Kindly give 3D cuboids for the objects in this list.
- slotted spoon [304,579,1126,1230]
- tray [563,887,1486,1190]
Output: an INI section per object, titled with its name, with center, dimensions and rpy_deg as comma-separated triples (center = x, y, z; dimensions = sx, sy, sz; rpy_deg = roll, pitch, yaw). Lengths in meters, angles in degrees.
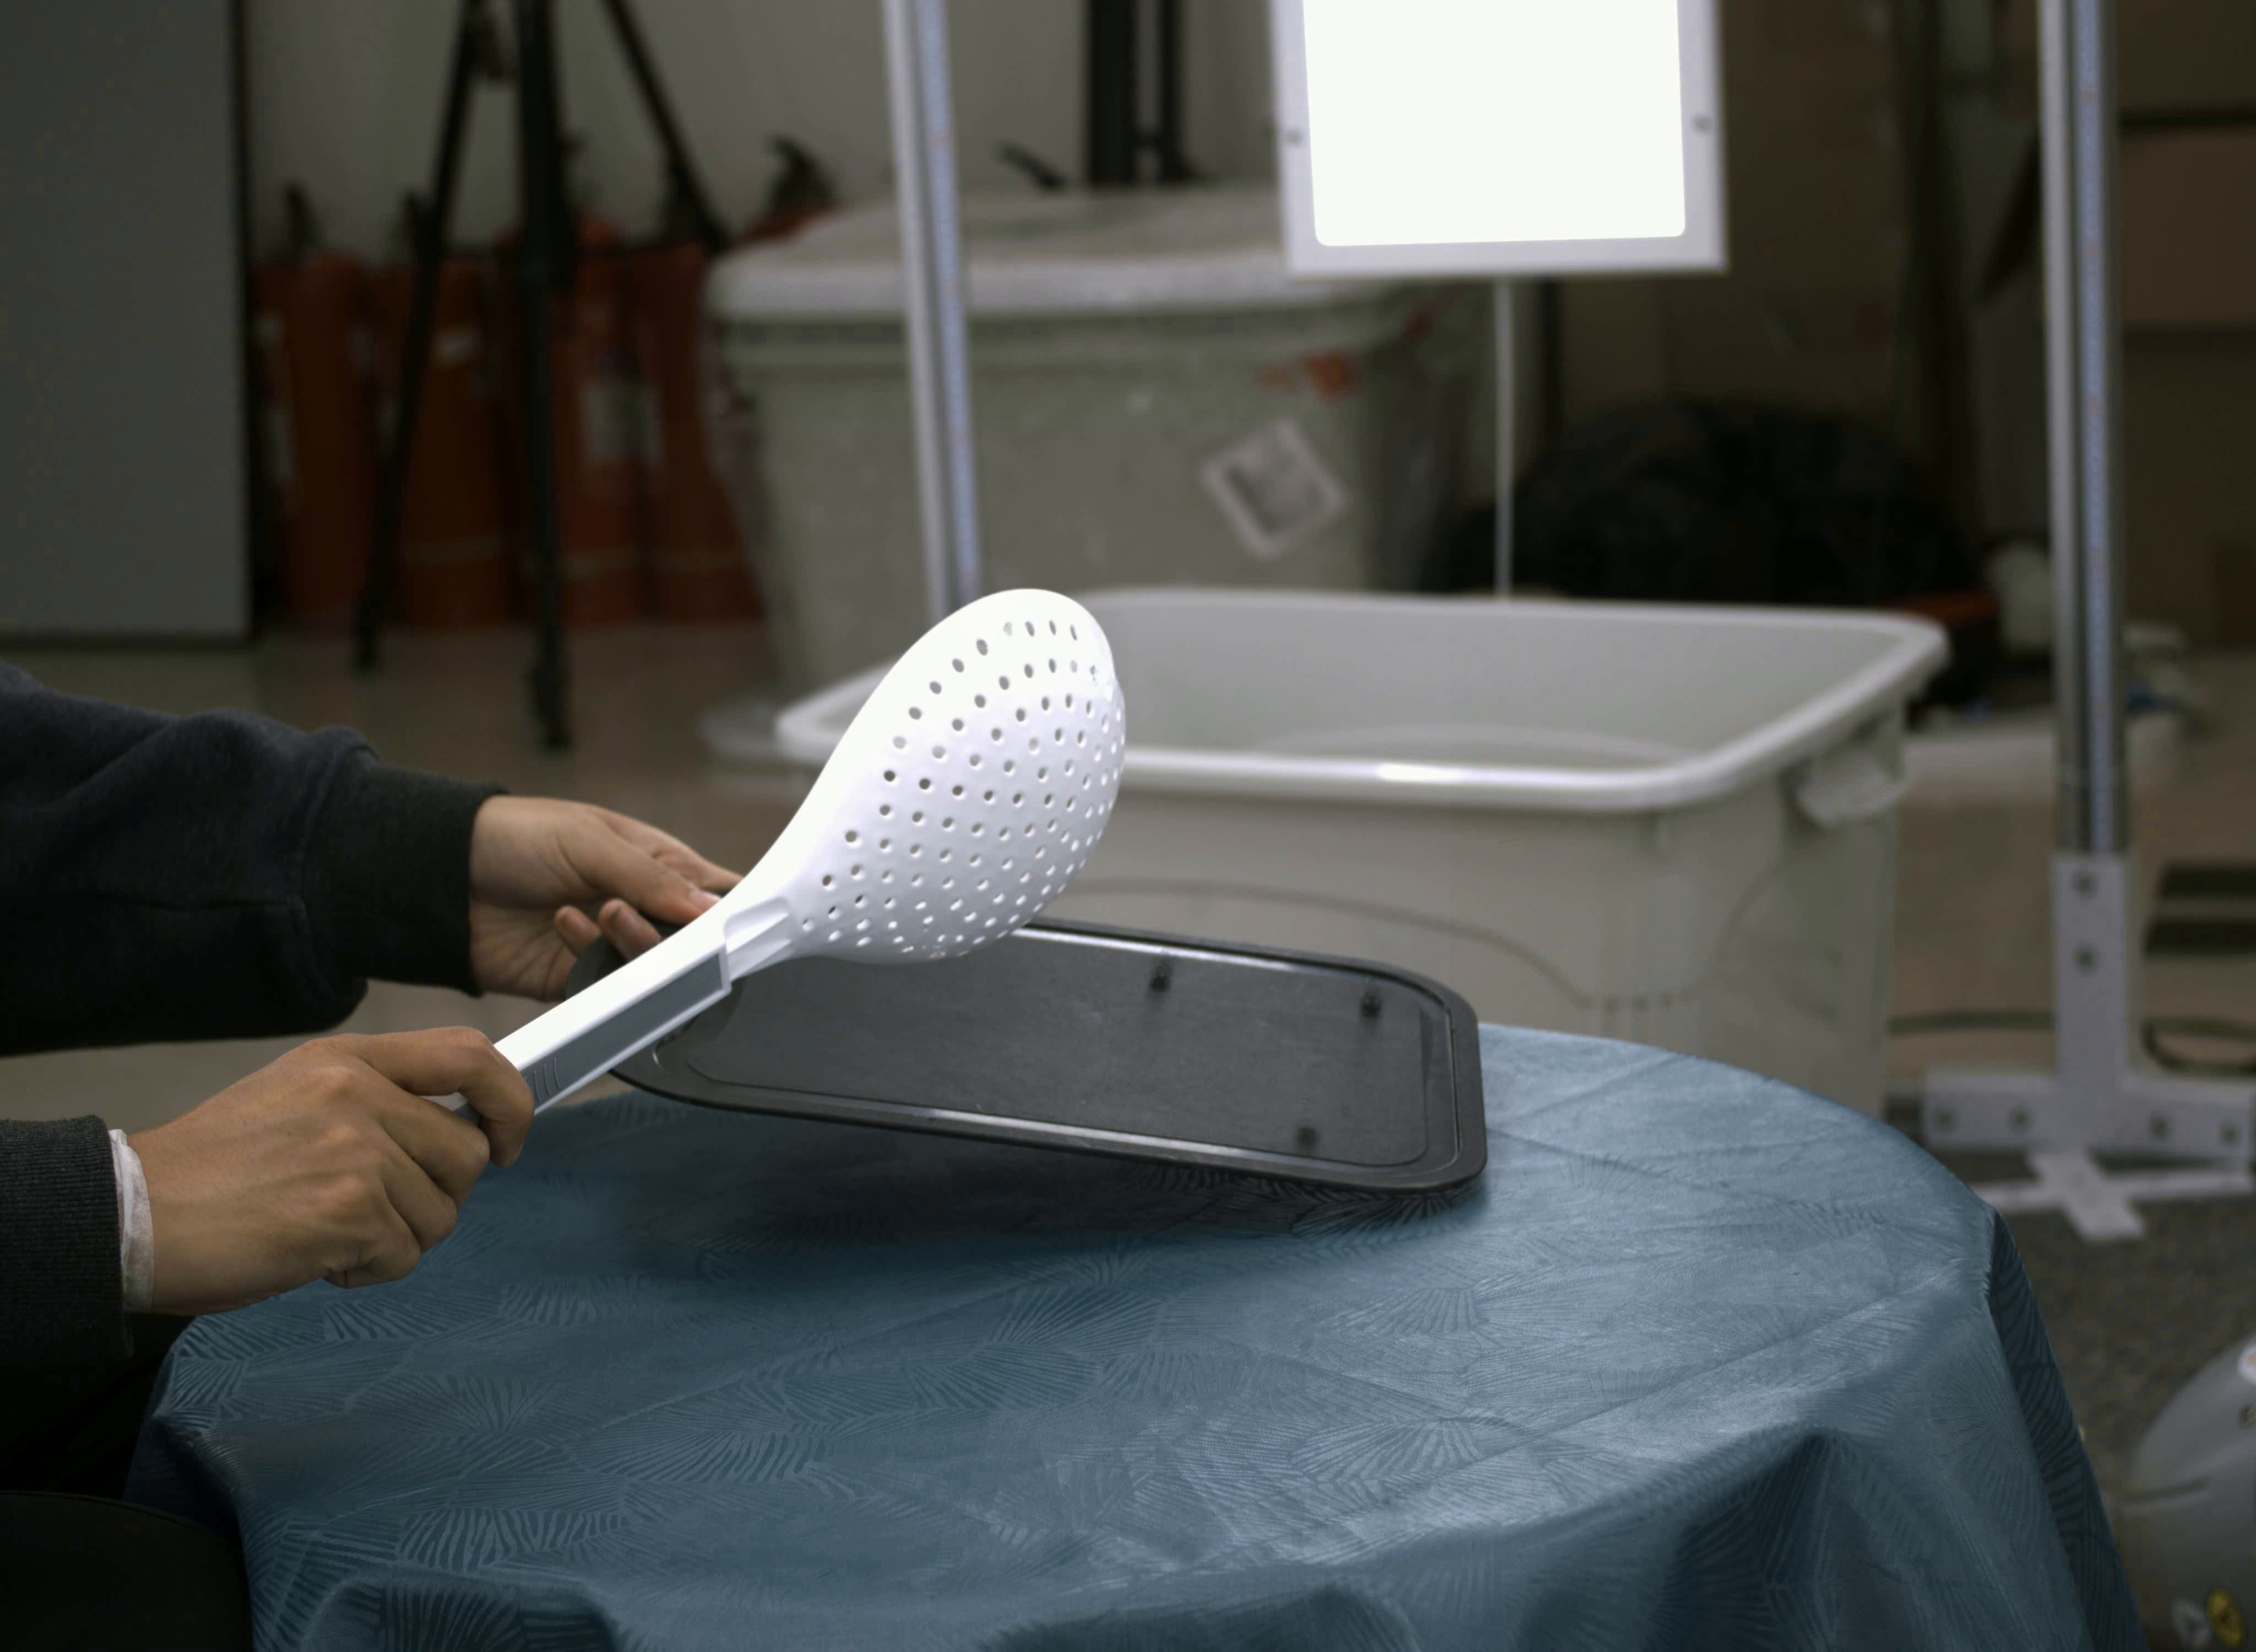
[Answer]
[slotted spoon]
center = -0.124, 0.034, 1.779
dimensions = 0.343, 0.136, 0.046
rpy_deg = -29, 42, -27
[tray]
center = -0.036, 0.071, 1.931
dimensions = 0.325, 0.010, 0.210
rpy_deg = 7, 20, 2
